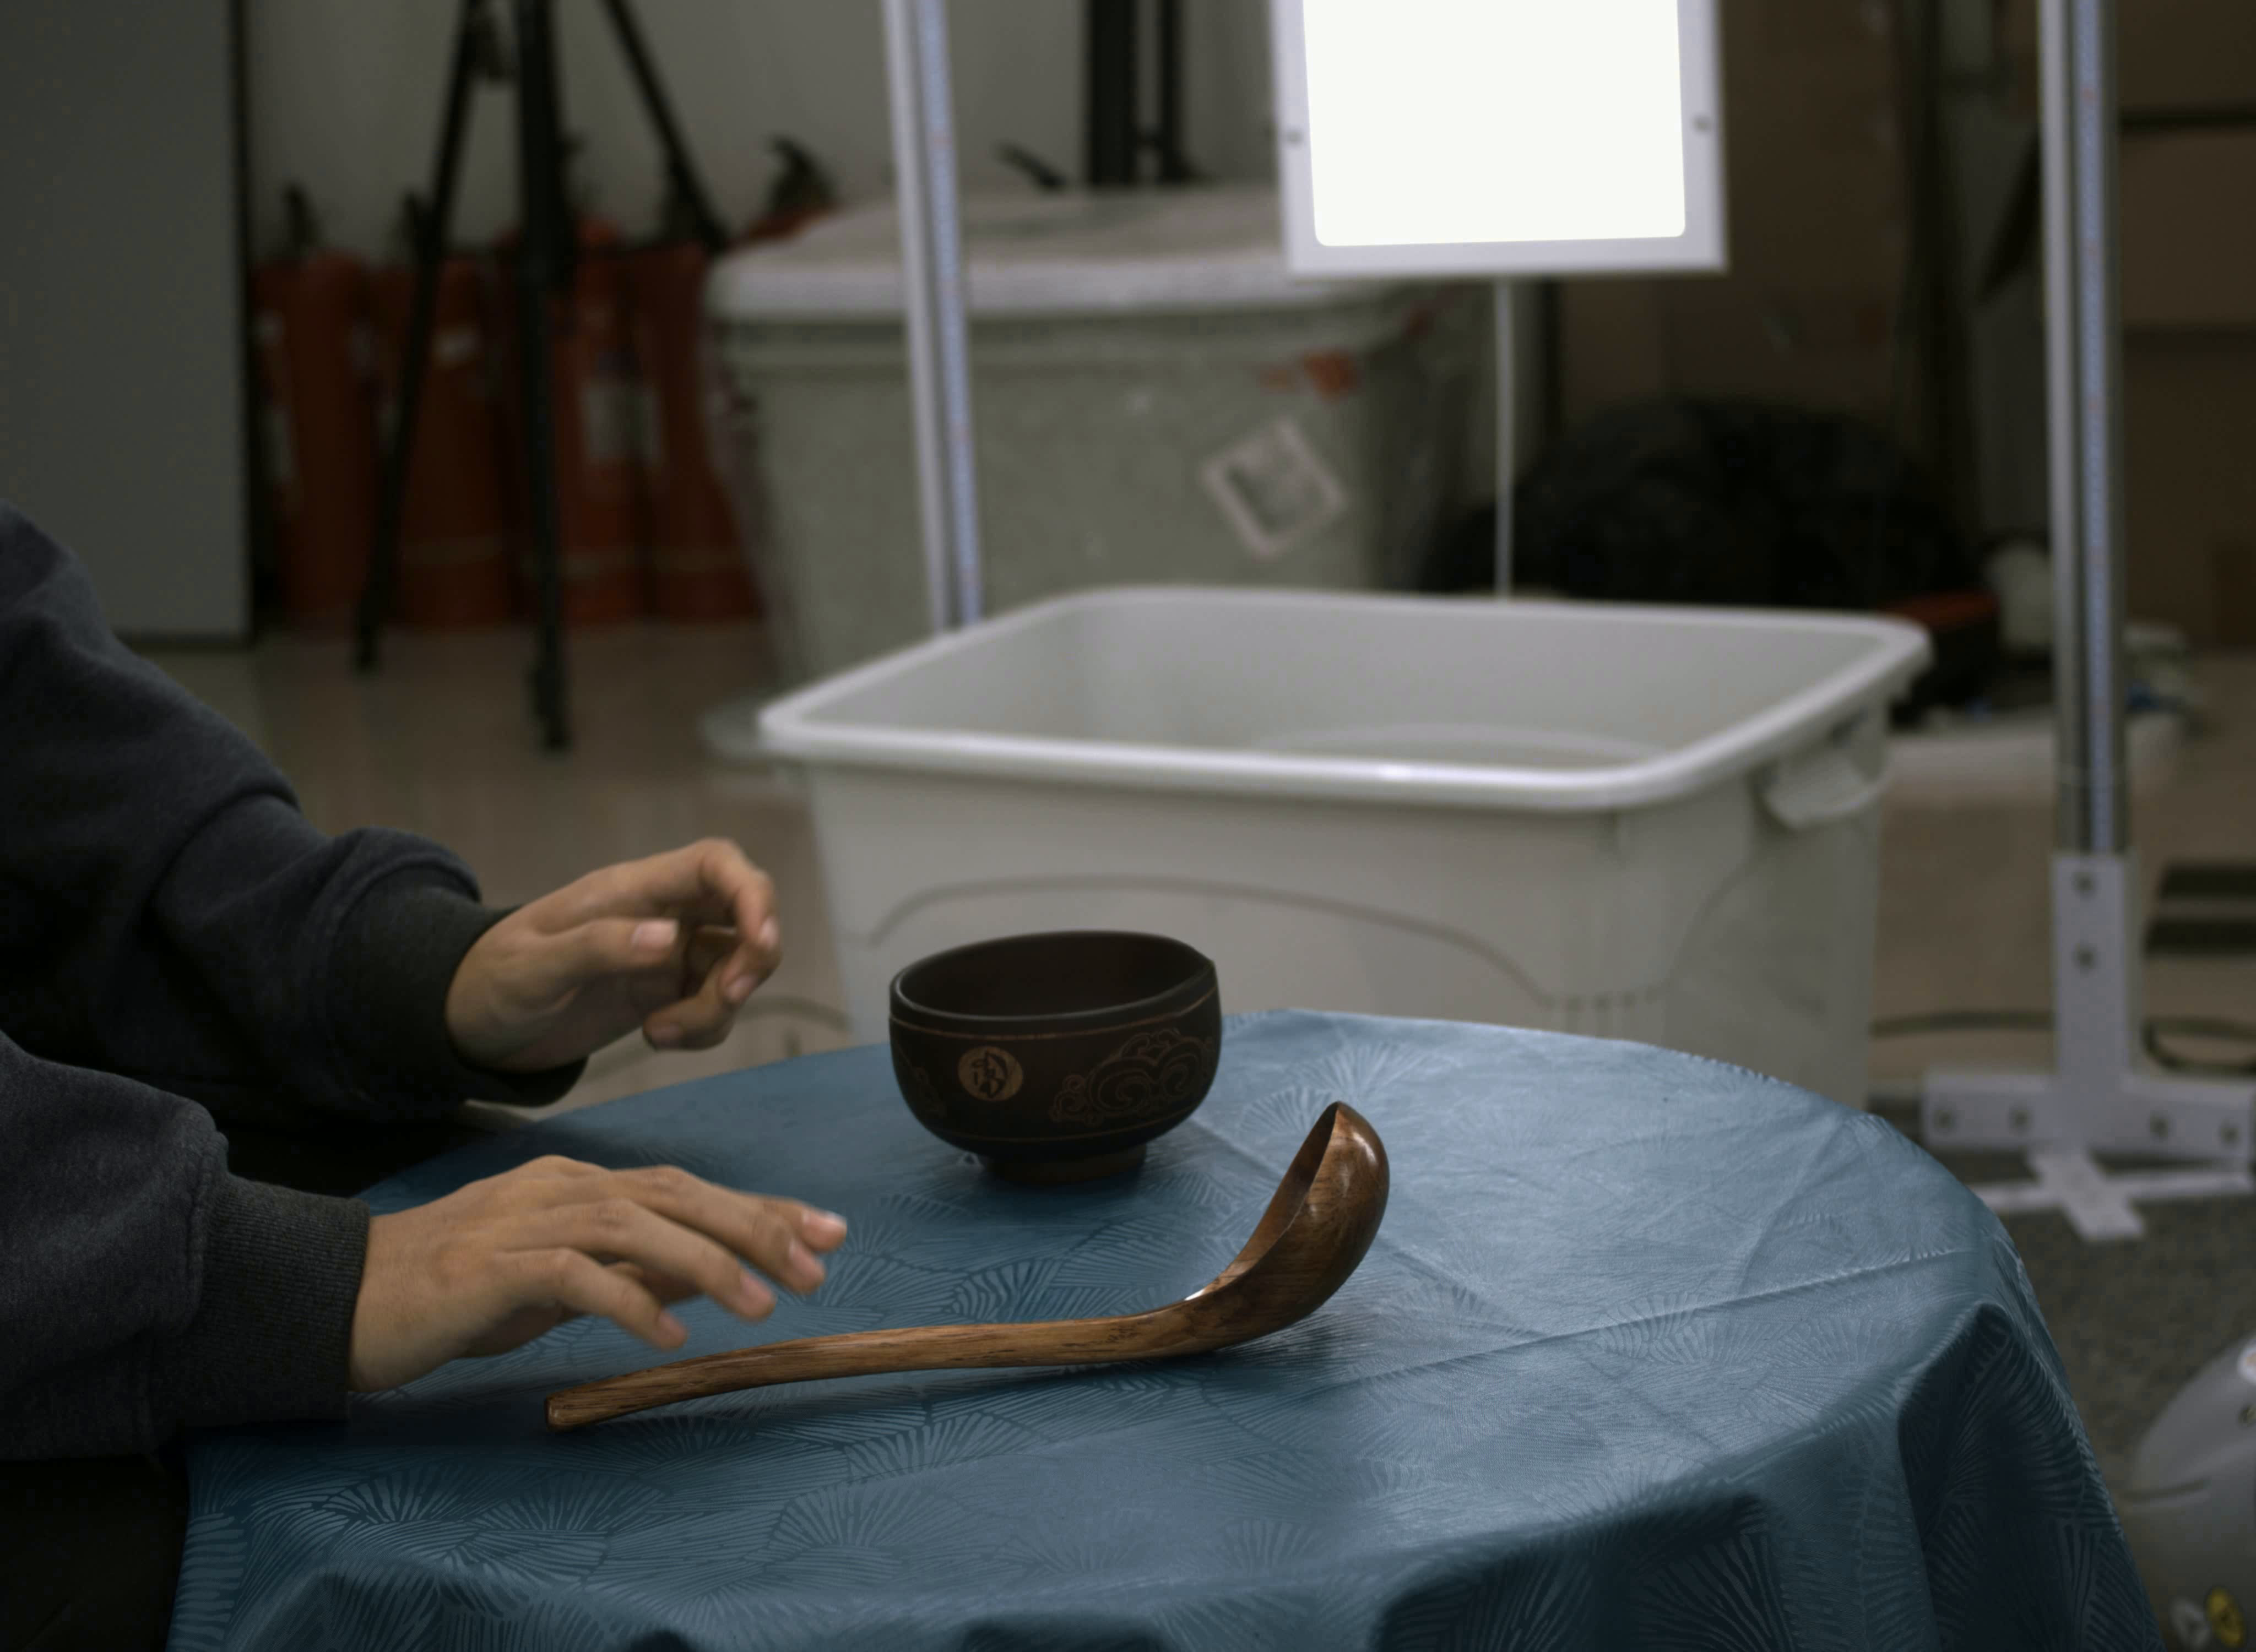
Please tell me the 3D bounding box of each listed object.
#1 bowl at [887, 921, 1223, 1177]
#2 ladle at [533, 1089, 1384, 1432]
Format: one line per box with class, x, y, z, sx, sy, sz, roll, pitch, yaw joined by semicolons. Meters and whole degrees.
bowl;-0.024;0.082;1.932;0.118;0.070;0.118;-5;14;0
ladle;-0.053;0.134;1.720;0.272;0.077;0.082;-6;-8;-3
